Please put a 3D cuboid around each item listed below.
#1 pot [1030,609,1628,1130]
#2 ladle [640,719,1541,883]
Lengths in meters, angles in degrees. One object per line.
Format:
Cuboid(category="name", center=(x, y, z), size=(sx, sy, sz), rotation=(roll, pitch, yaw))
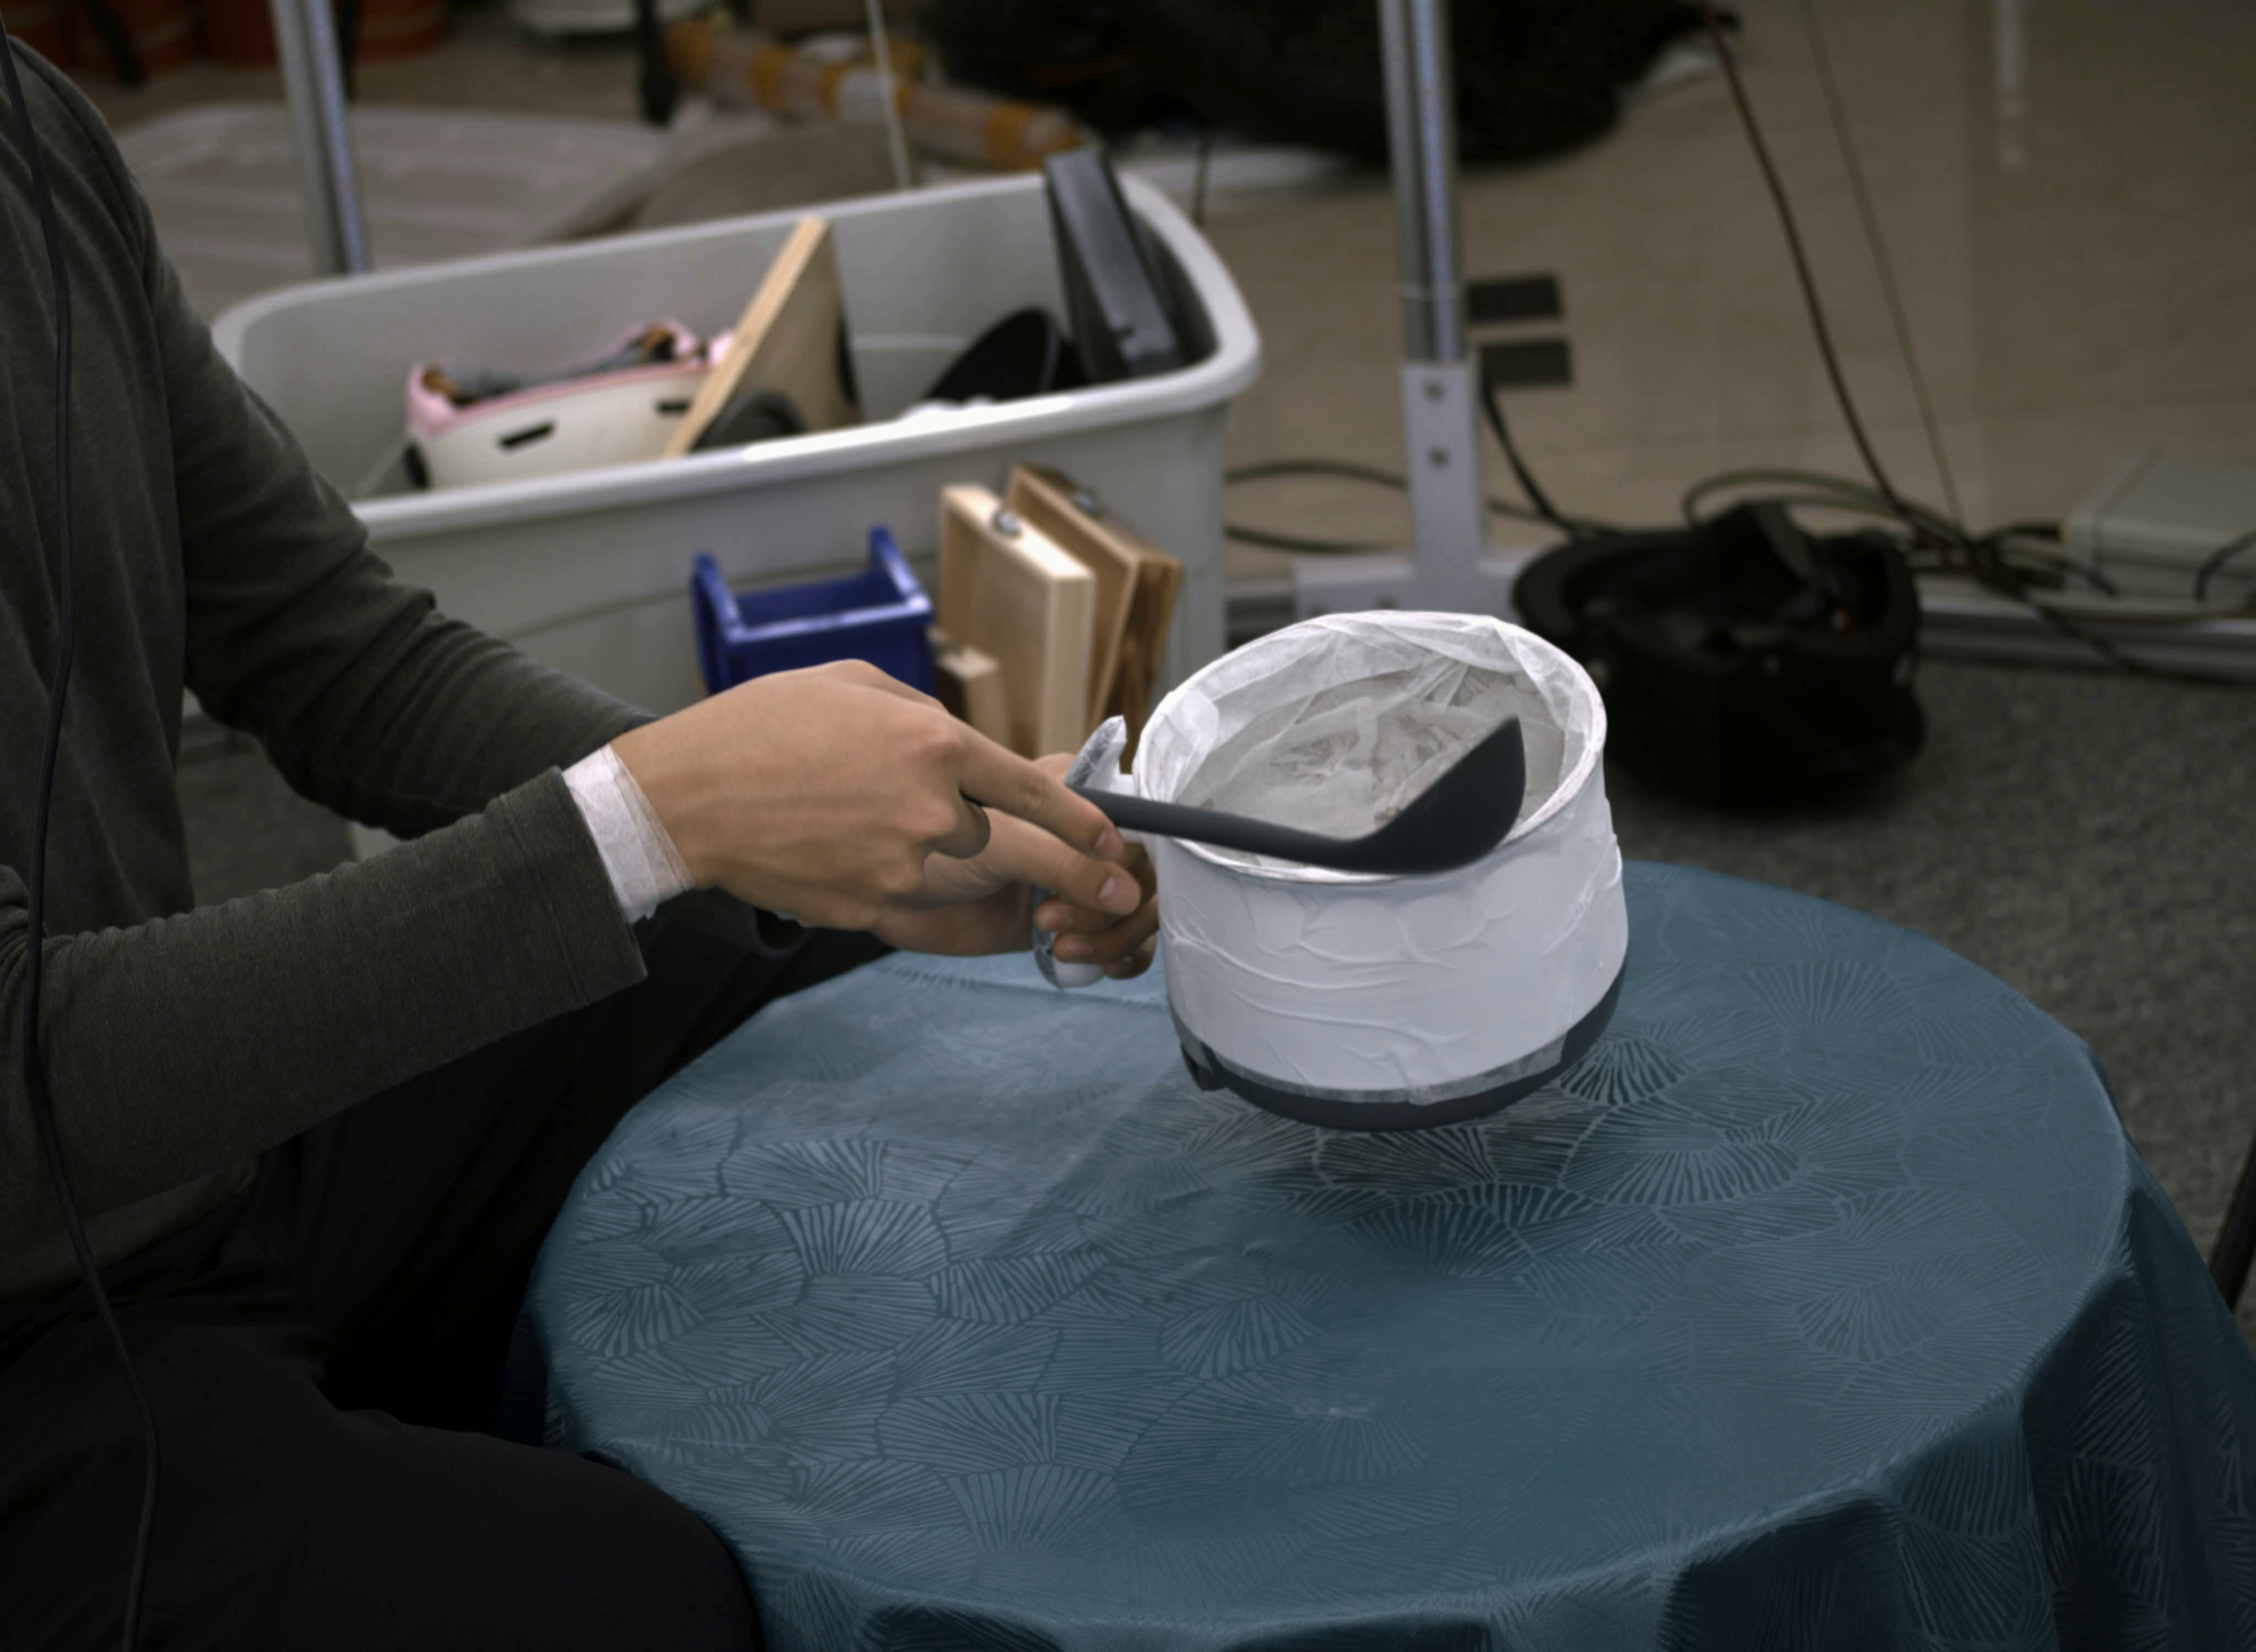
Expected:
Cuboid(category="pot", center=(0.072, 0.018, 2.145), size=(0.233, 0.139, 0.176), rotation=(3, 36, 16))
Cuboid(category="ladle", center=(-0.011, -0.028, 1.974), size=(0.314, 0.063, 0.086), rotation=(10, -11, -4))
